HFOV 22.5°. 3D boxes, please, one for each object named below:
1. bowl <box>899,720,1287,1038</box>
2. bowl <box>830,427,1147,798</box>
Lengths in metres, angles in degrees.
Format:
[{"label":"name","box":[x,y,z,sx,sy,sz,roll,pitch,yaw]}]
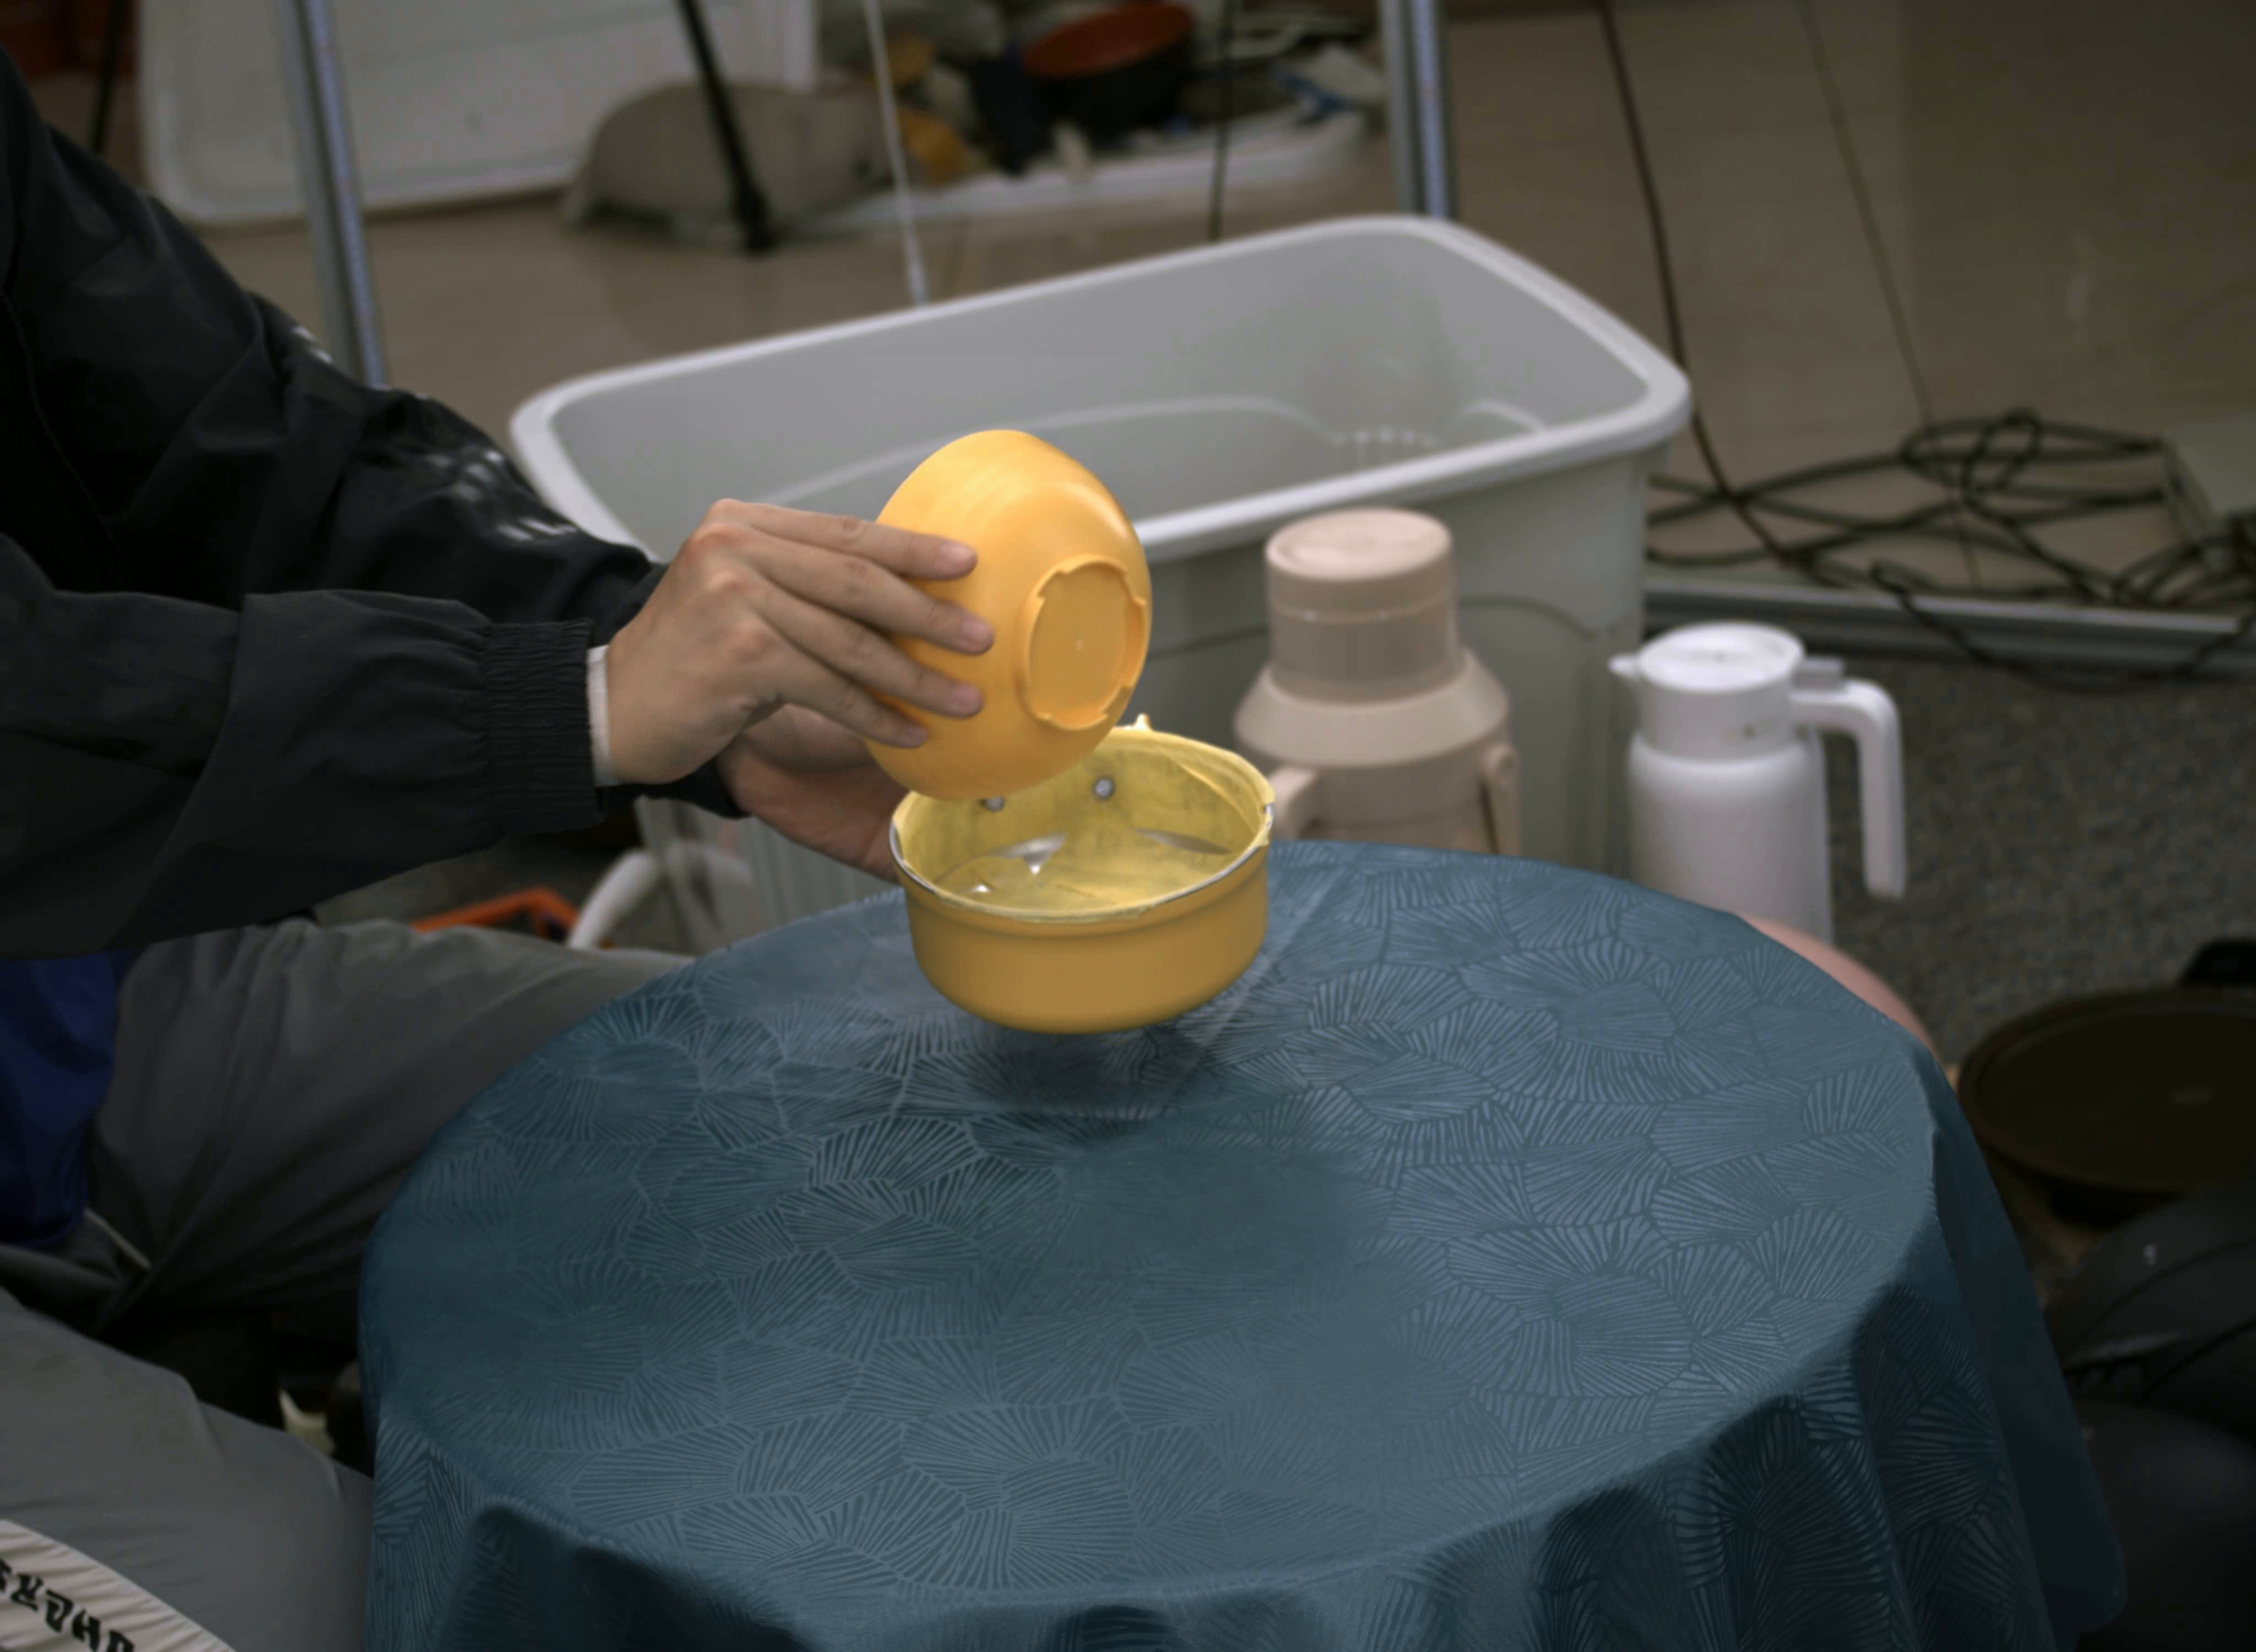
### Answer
[{"label":"bowl","box":[-0.010,0.020,2.251,0.153,0.075,0.176,-3,30,6]},{"label":"bowl","box":[-0.039,-0.074,2.126,0.144,0.148,0.059,-26,34,-36]}]
